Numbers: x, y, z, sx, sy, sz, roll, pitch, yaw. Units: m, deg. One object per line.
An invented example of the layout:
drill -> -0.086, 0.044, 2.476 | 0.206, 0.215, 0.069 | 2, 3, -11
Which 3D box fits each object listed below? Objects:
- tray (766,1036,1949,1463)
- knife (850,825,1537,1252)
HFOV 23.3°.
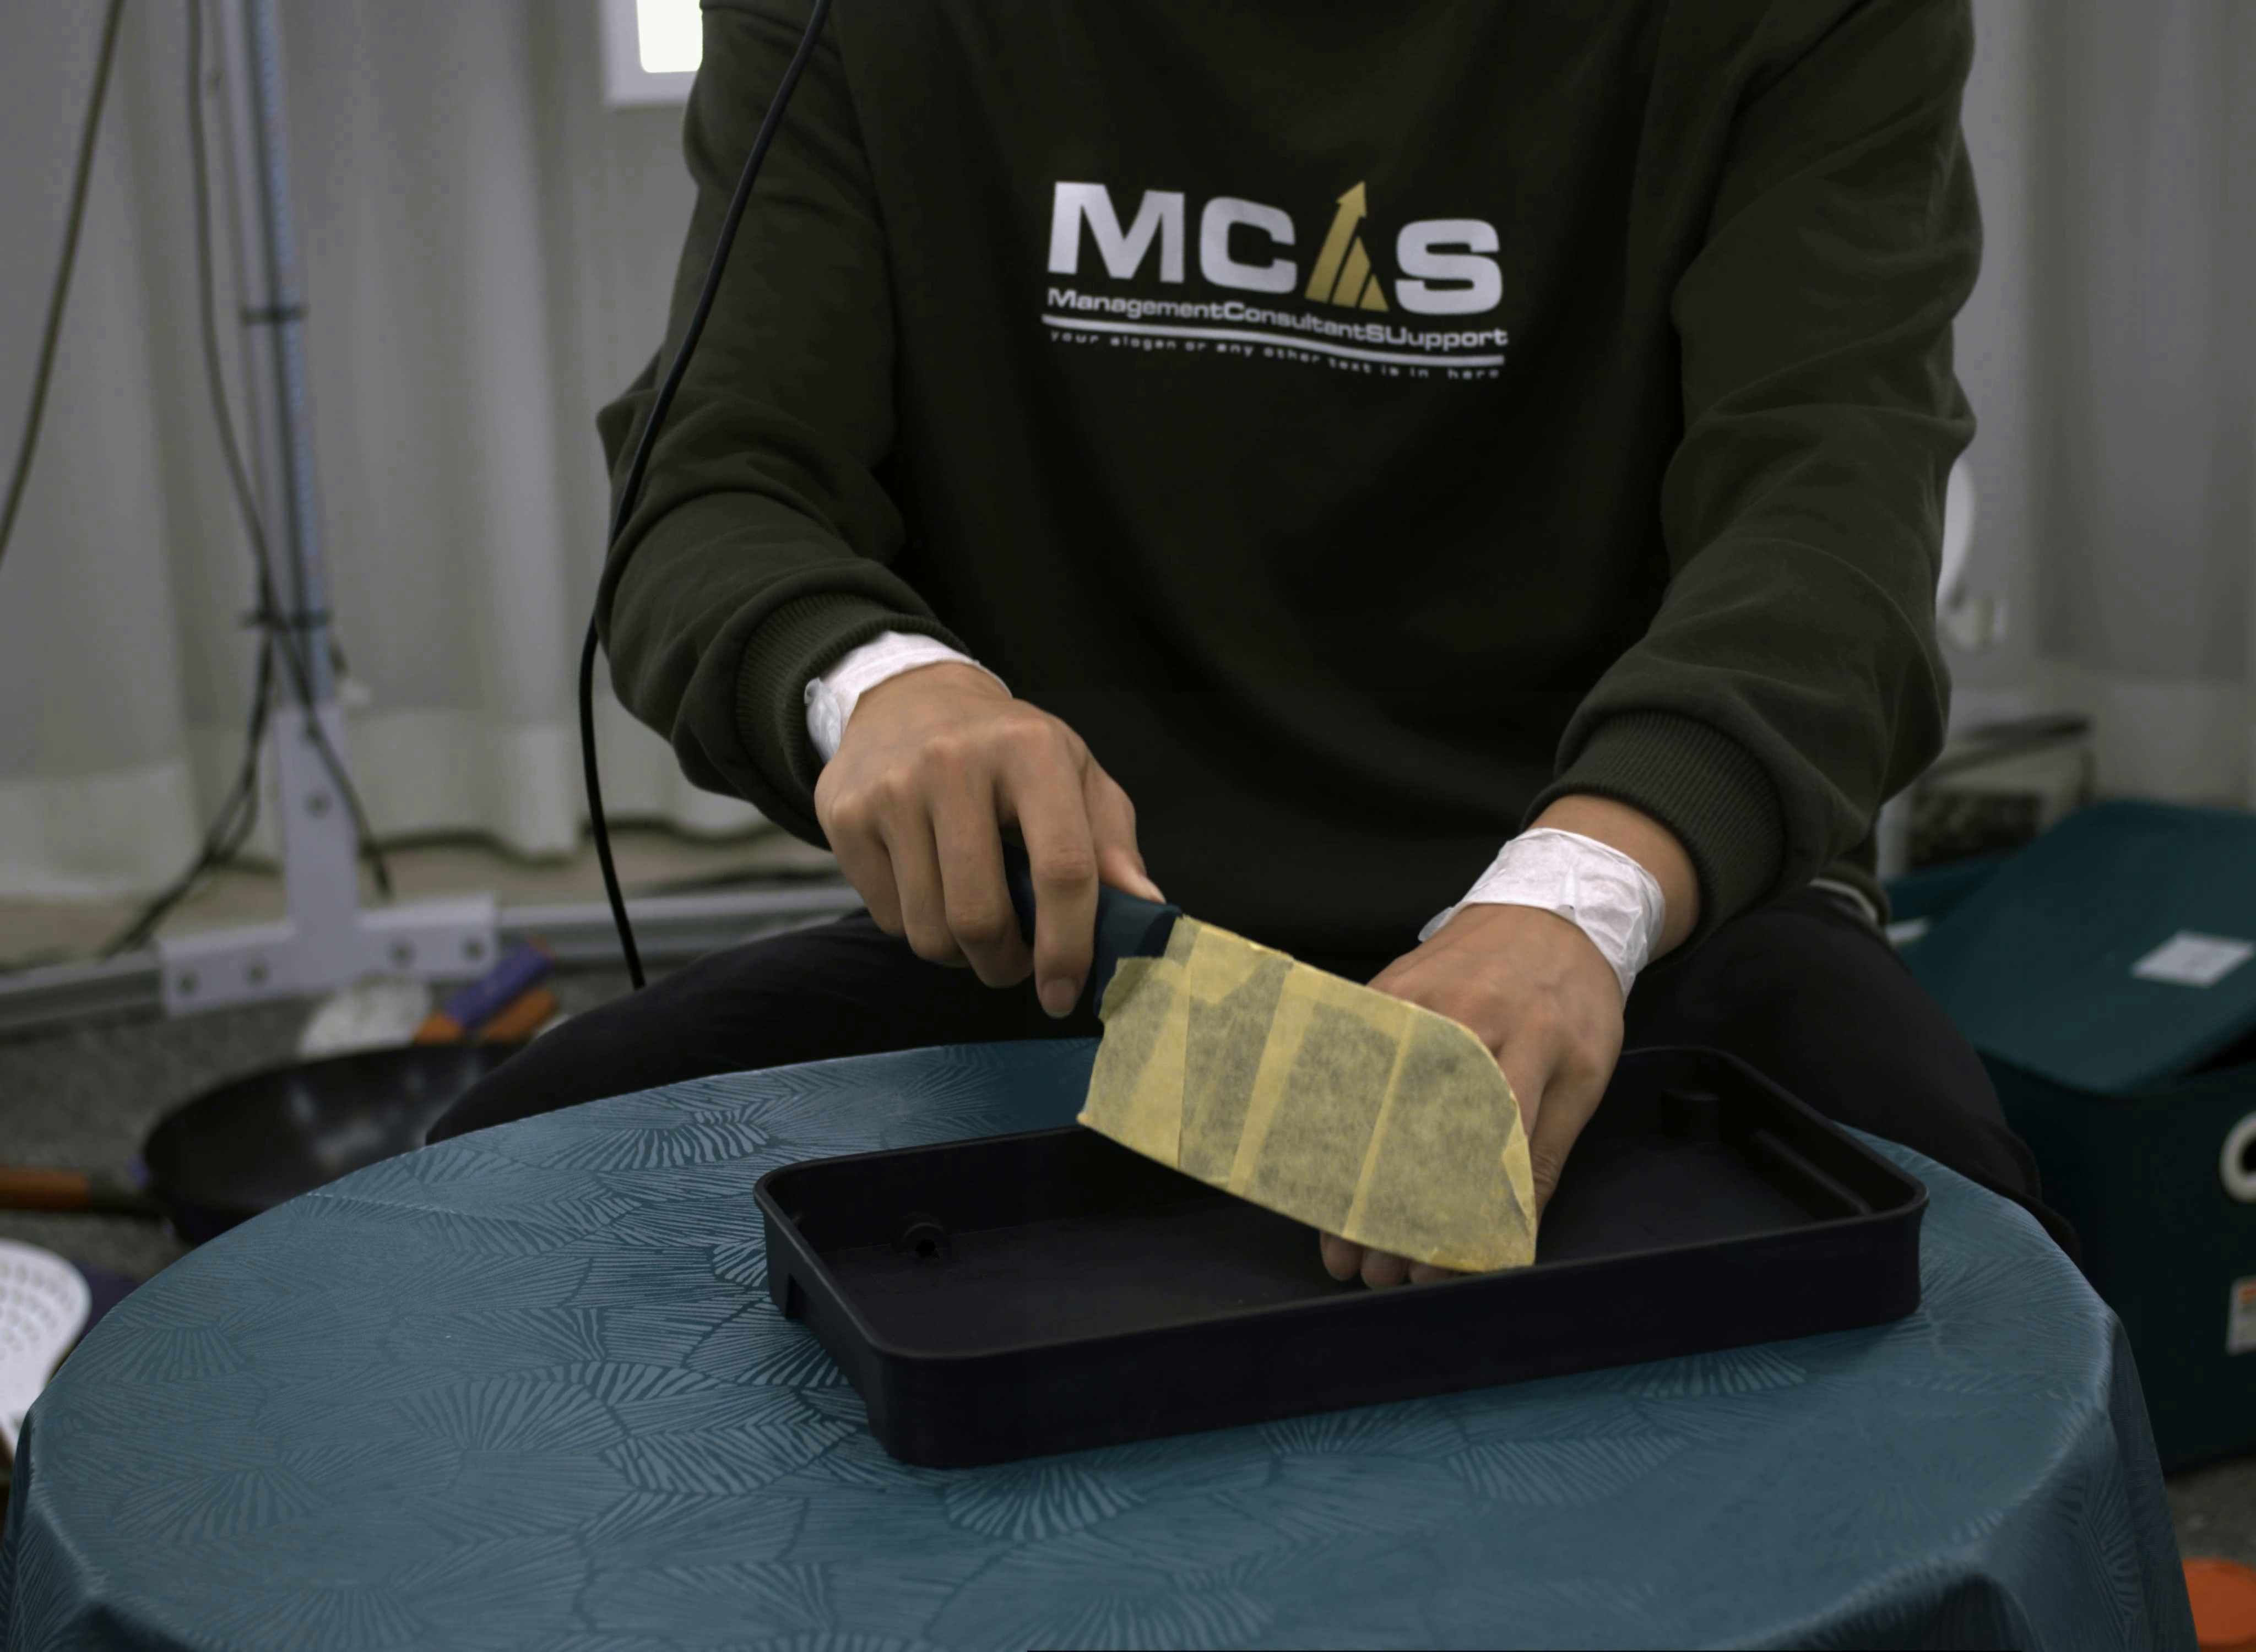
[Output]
tray -> 0.065, 0.120, 1.610 | 0.316, 0.037, 0.186 | -7, 15, -17
knife -> 0.015, 0.061, 1.650 | 0.292, 0.081, 0.027 | 24, 5, 40
